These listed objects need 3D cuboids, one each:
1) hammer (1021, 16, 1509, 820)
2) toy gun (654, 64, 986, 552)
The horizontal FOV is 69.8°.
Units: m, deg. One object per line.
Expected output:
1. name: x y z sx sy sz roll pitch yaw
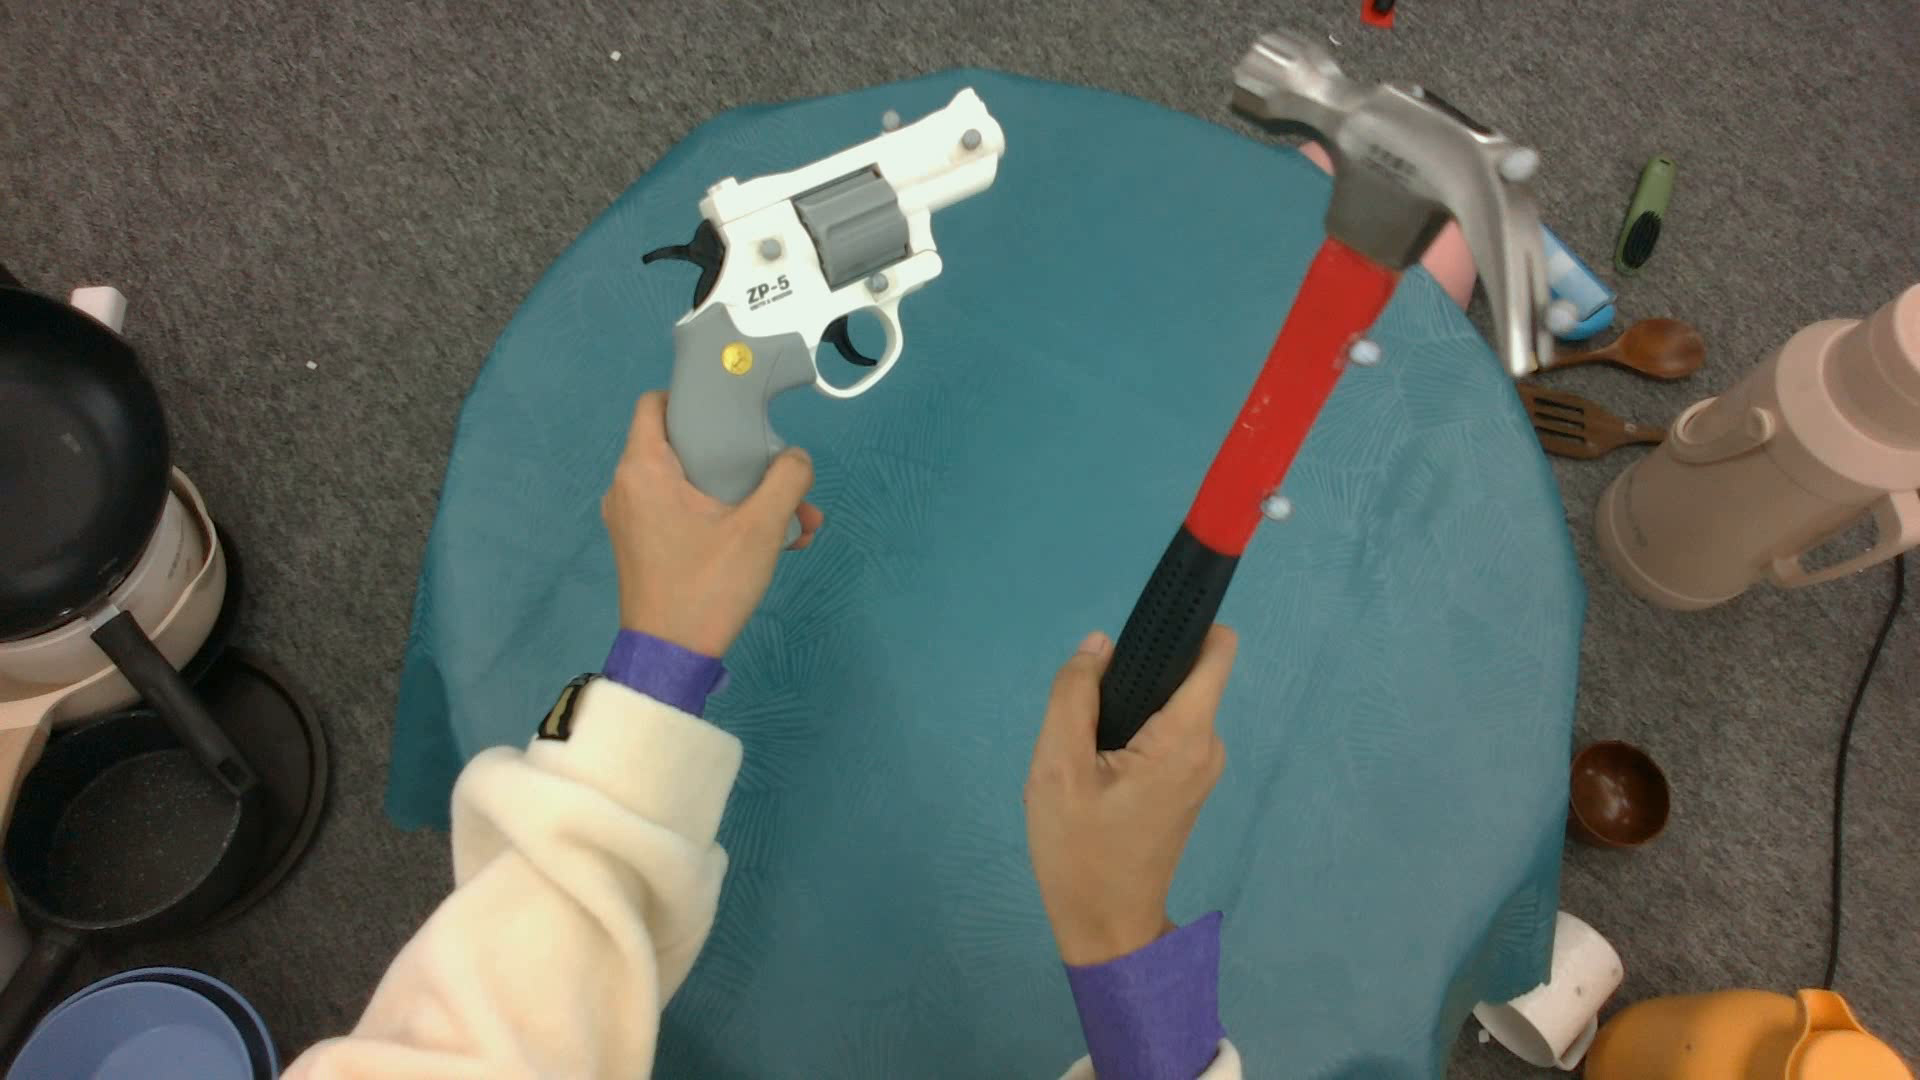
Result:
1. hammer: 0.075 -0.010 0.436 0.111 0.276 0.026 34 37 20
2. toy gun: -0.055 -0.098 0.575 0.210 0.039 0.141 -32 104 -23
